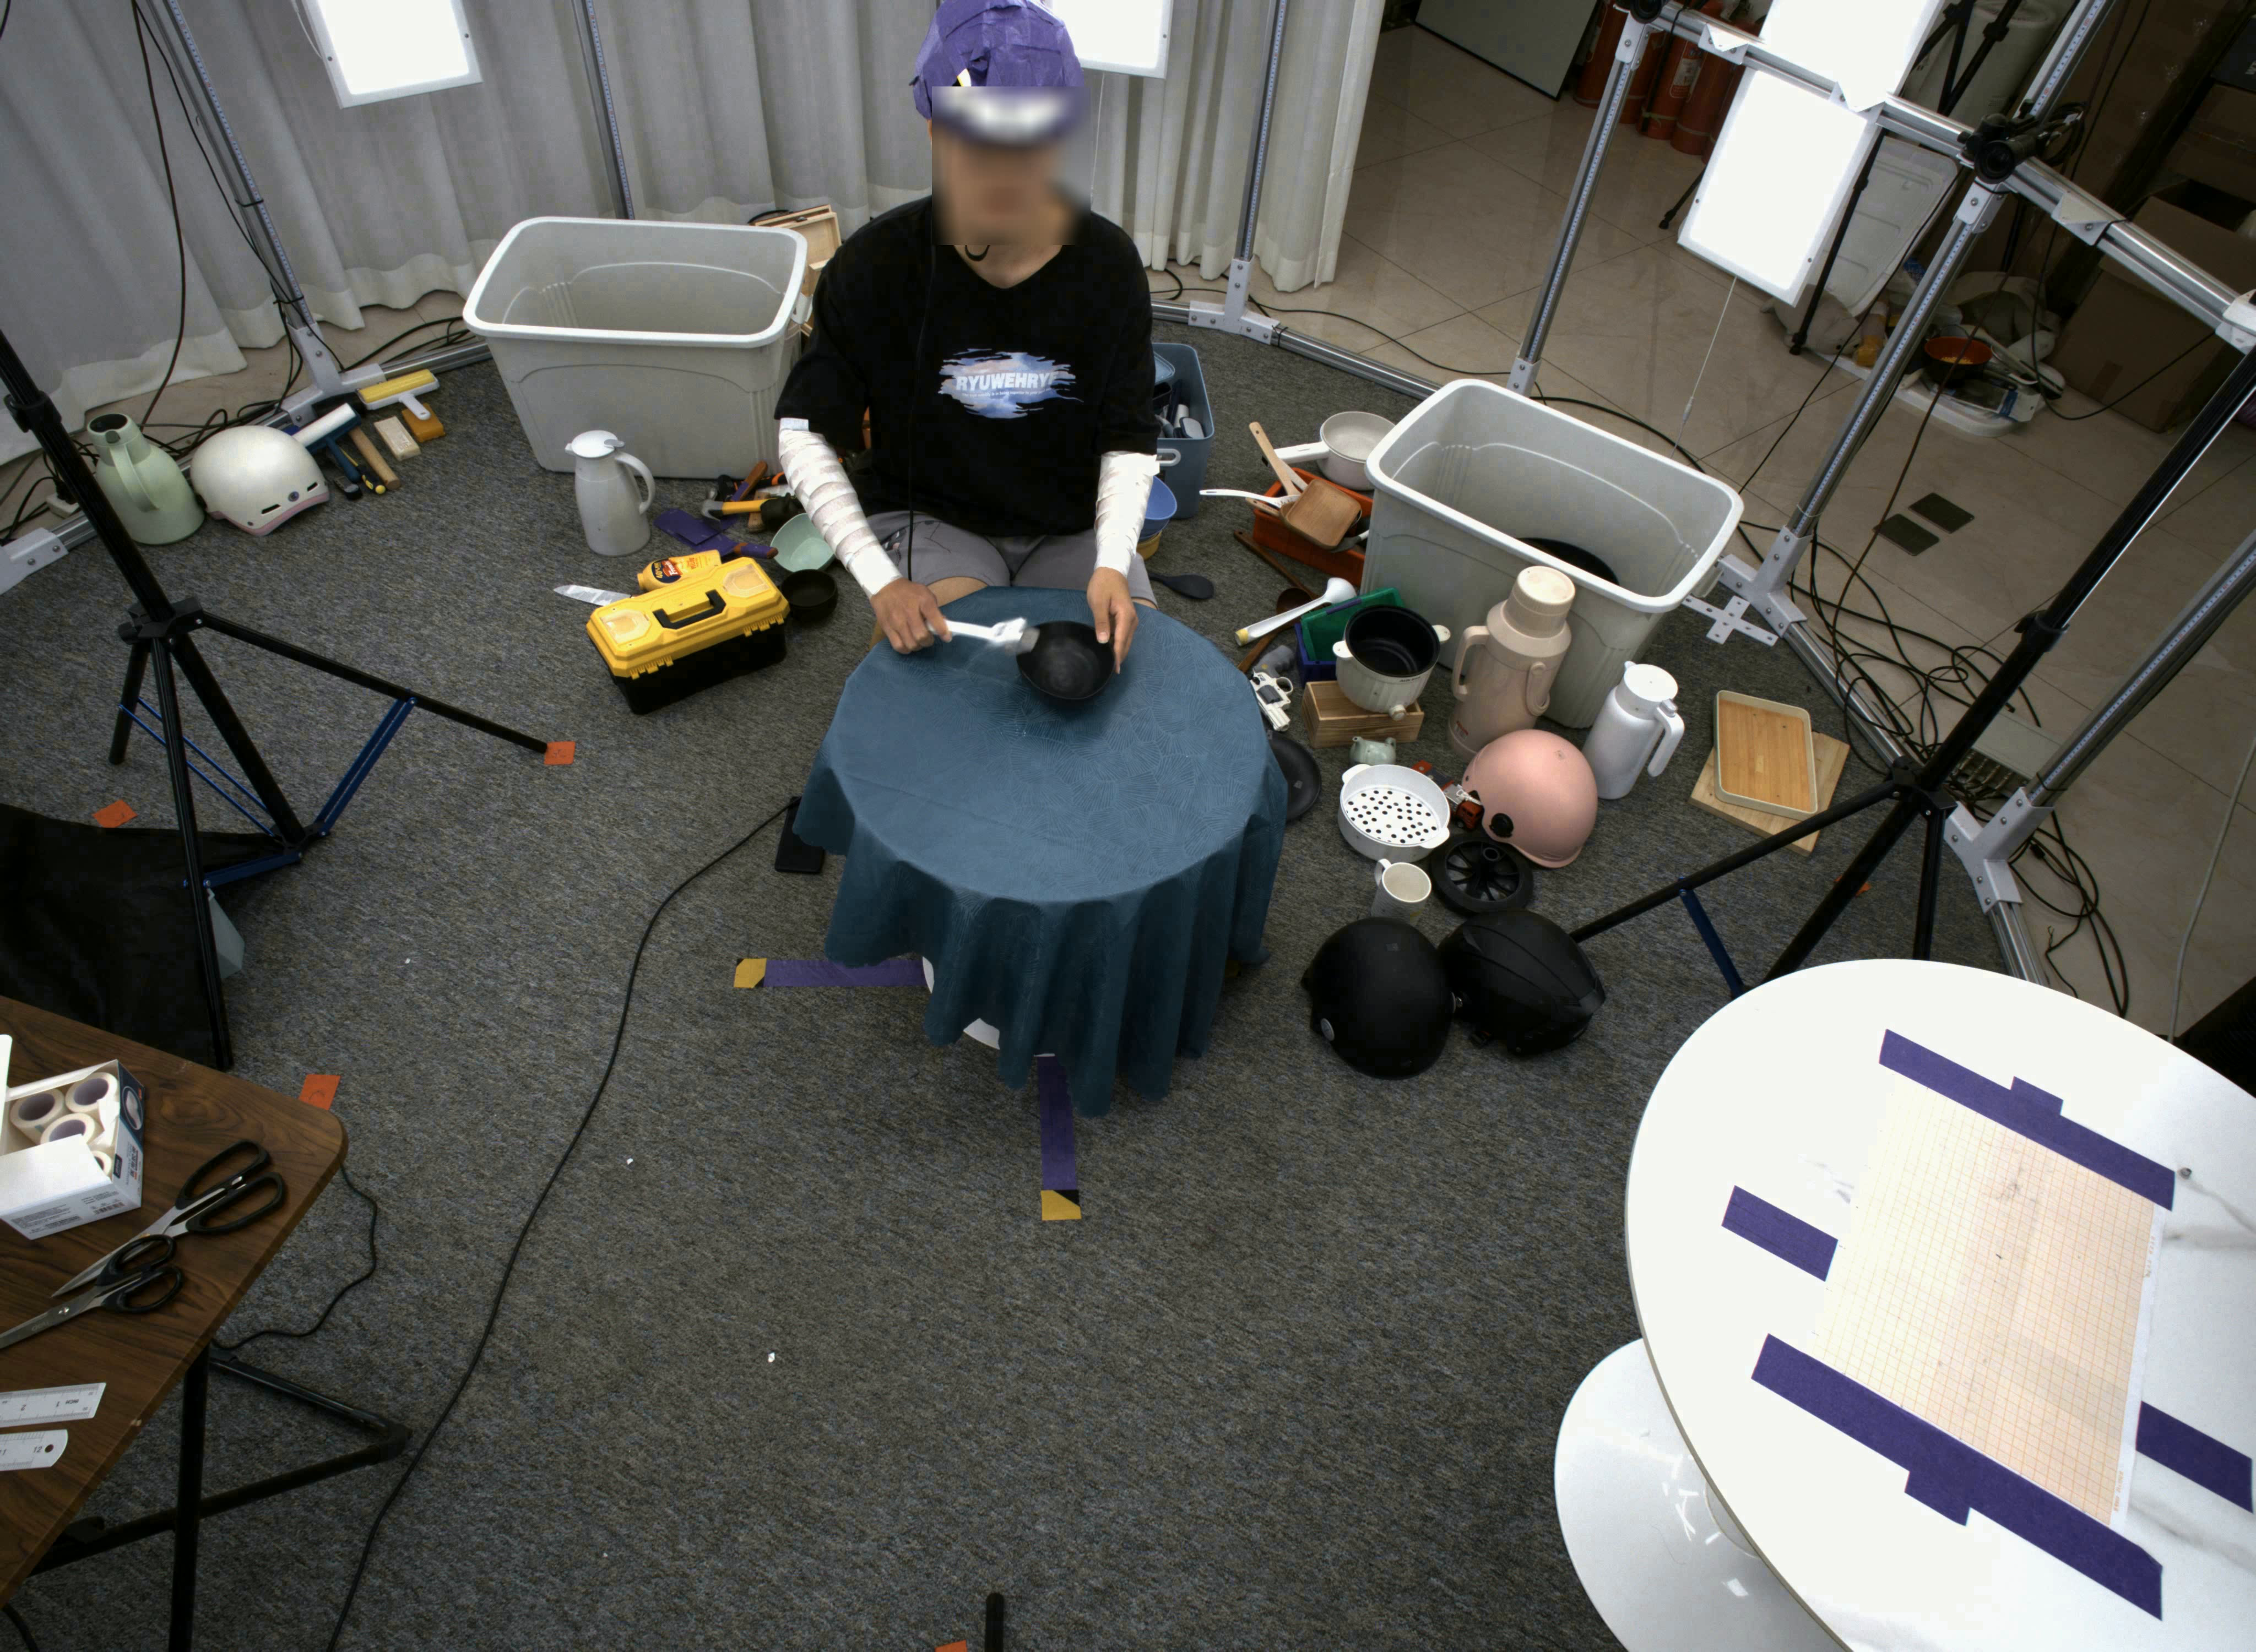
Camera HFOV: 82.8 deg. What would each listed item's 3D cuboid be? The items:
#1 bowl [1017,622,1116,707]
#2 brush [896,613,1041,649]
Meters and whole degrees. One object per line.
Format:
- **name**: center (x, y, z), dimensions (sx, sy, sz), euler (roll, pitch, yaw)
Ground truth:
- **bowl**: center (-0.088, -0.221, 1.817), dimensions (0.137, 0.065, 0.174), euler (-9, 48, -11)
- **brush**: center (-0.226, -0.275, 1.829), dimensions (0.245, 0.049, 0.035), euler (4, 69, 34)
